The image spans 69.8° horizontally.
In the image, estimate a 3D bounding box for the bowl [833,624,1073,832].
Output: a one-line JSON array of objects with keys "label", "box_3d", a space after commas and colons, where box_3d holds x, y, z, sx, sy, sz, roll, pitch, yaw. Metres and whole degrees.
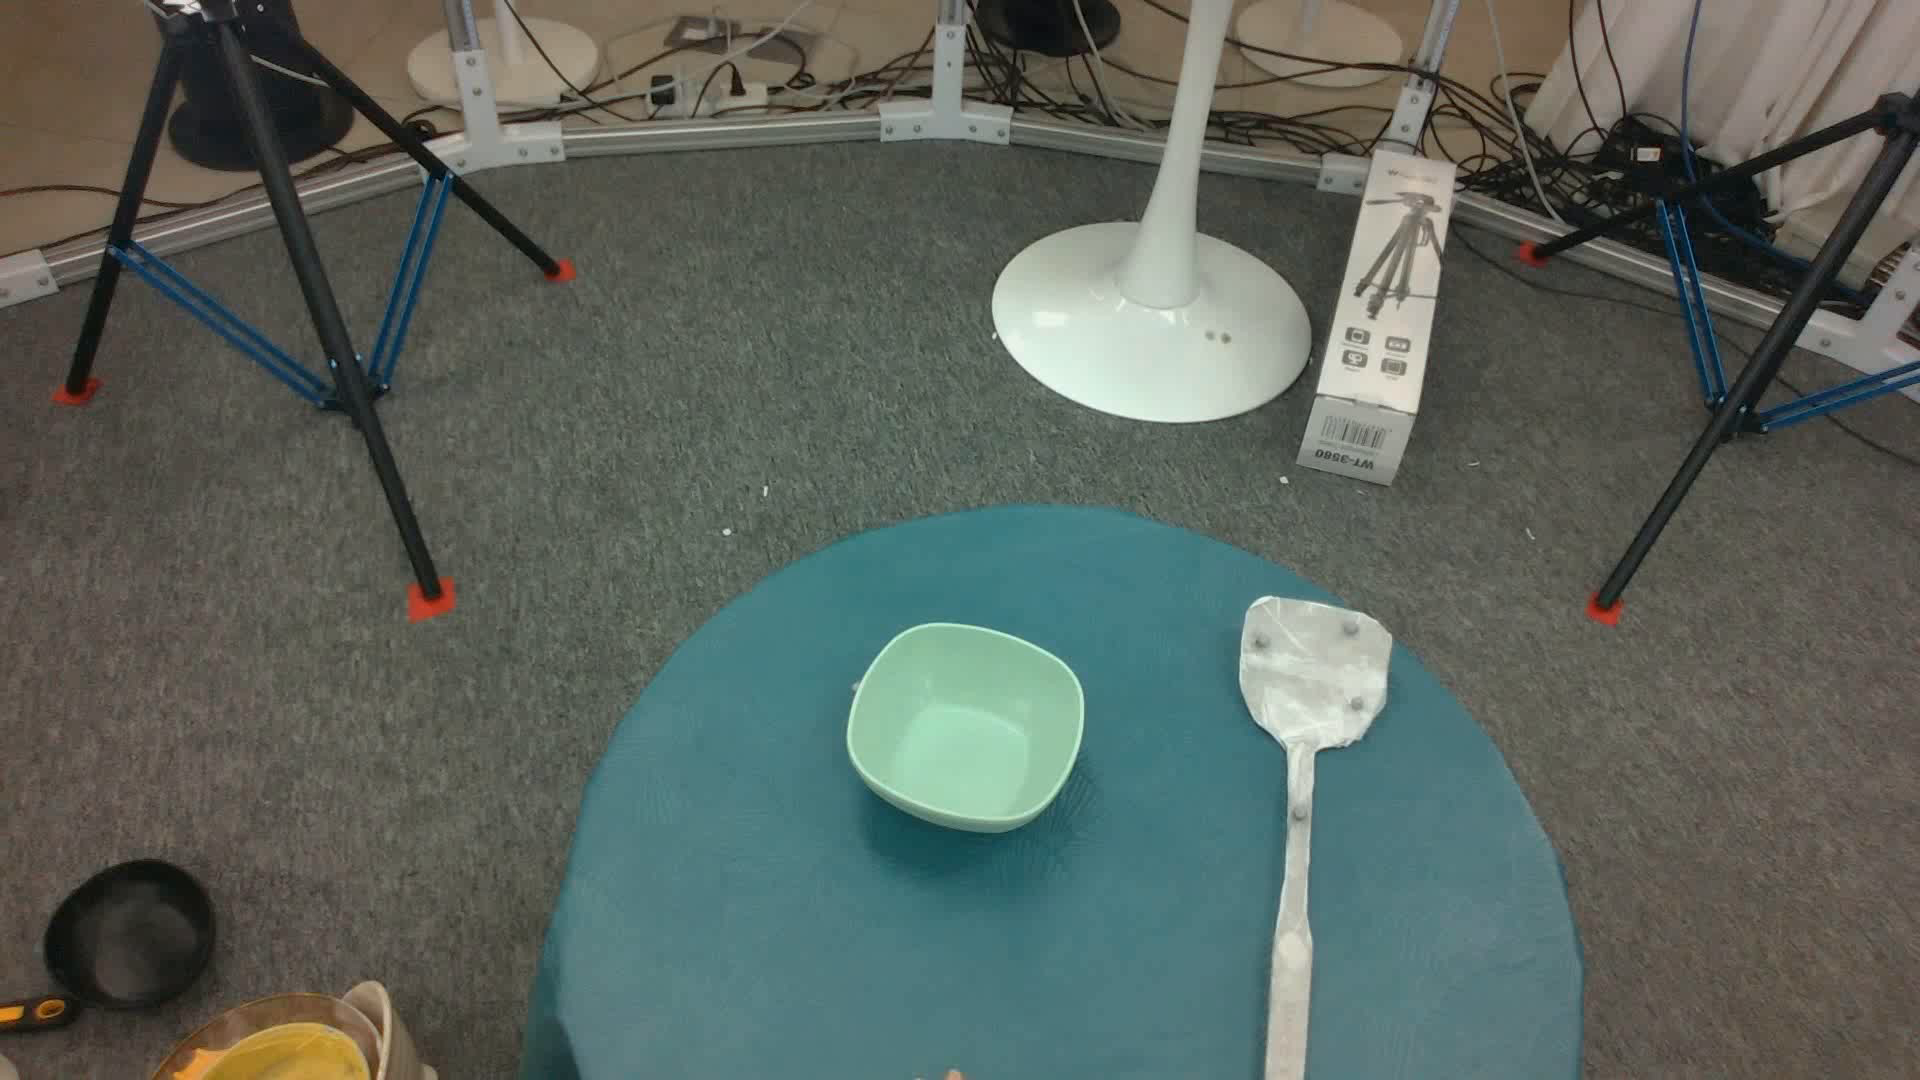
[{"label": "bowl", "box_3d": [-0.004, 0.124, 0.845, 0.151, 0.058, 0.152, 2, 45, -2]}]

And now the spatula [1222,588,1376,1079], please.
[{"label": "spatula", "box_3d": [0.191, 0.178, 0.827, 0.098, 0.044, 0.367, 15, 47, 5]}]
